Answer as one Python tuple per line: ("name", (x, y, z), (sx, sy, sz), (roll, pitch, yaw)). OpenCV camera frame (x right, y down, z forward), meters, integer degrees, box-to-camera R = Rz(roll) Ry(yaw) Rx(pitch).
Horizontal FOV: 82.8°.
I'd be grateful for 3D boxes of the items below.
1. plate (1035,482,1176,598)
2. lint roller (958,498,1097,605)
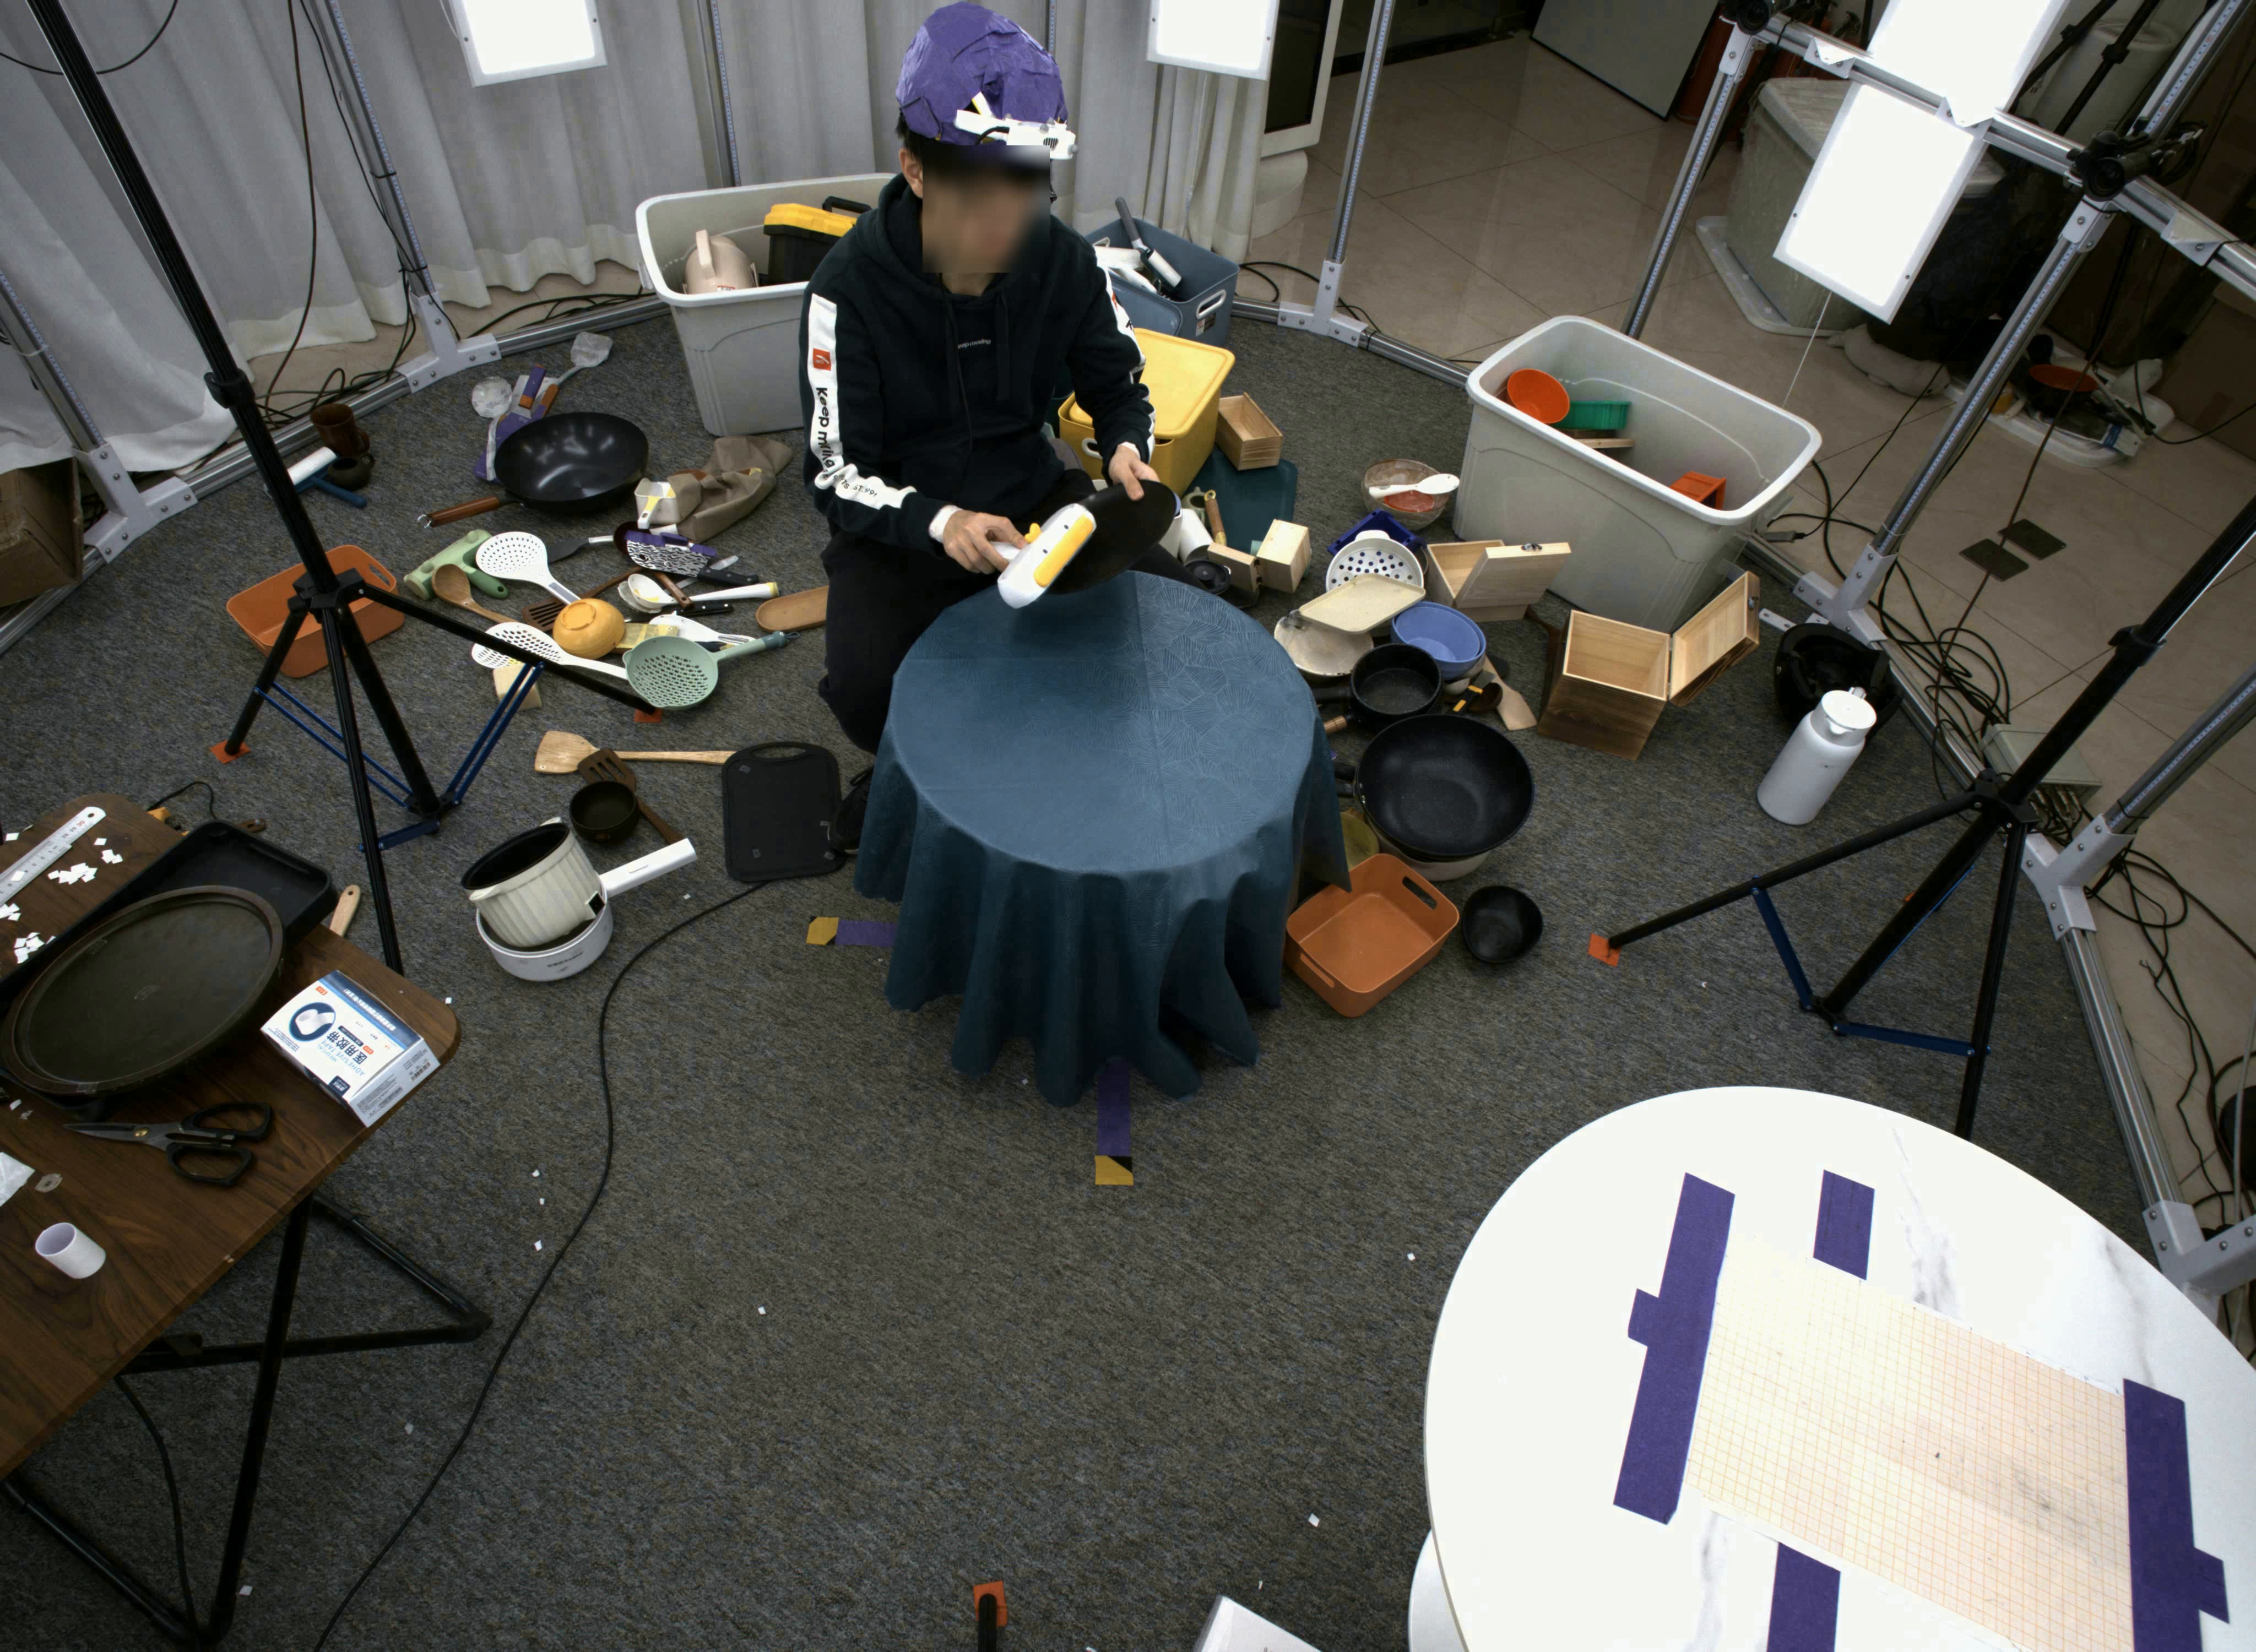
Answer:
("plate", (-0.037, -0.404, 1.836), (0.243, 0.023, 0.250), (-20, 40, 18))
("lint roller", (-0.156, -0.383, 1.821), (0.193, 0.072, 0.196), (-5, 45, 40))
